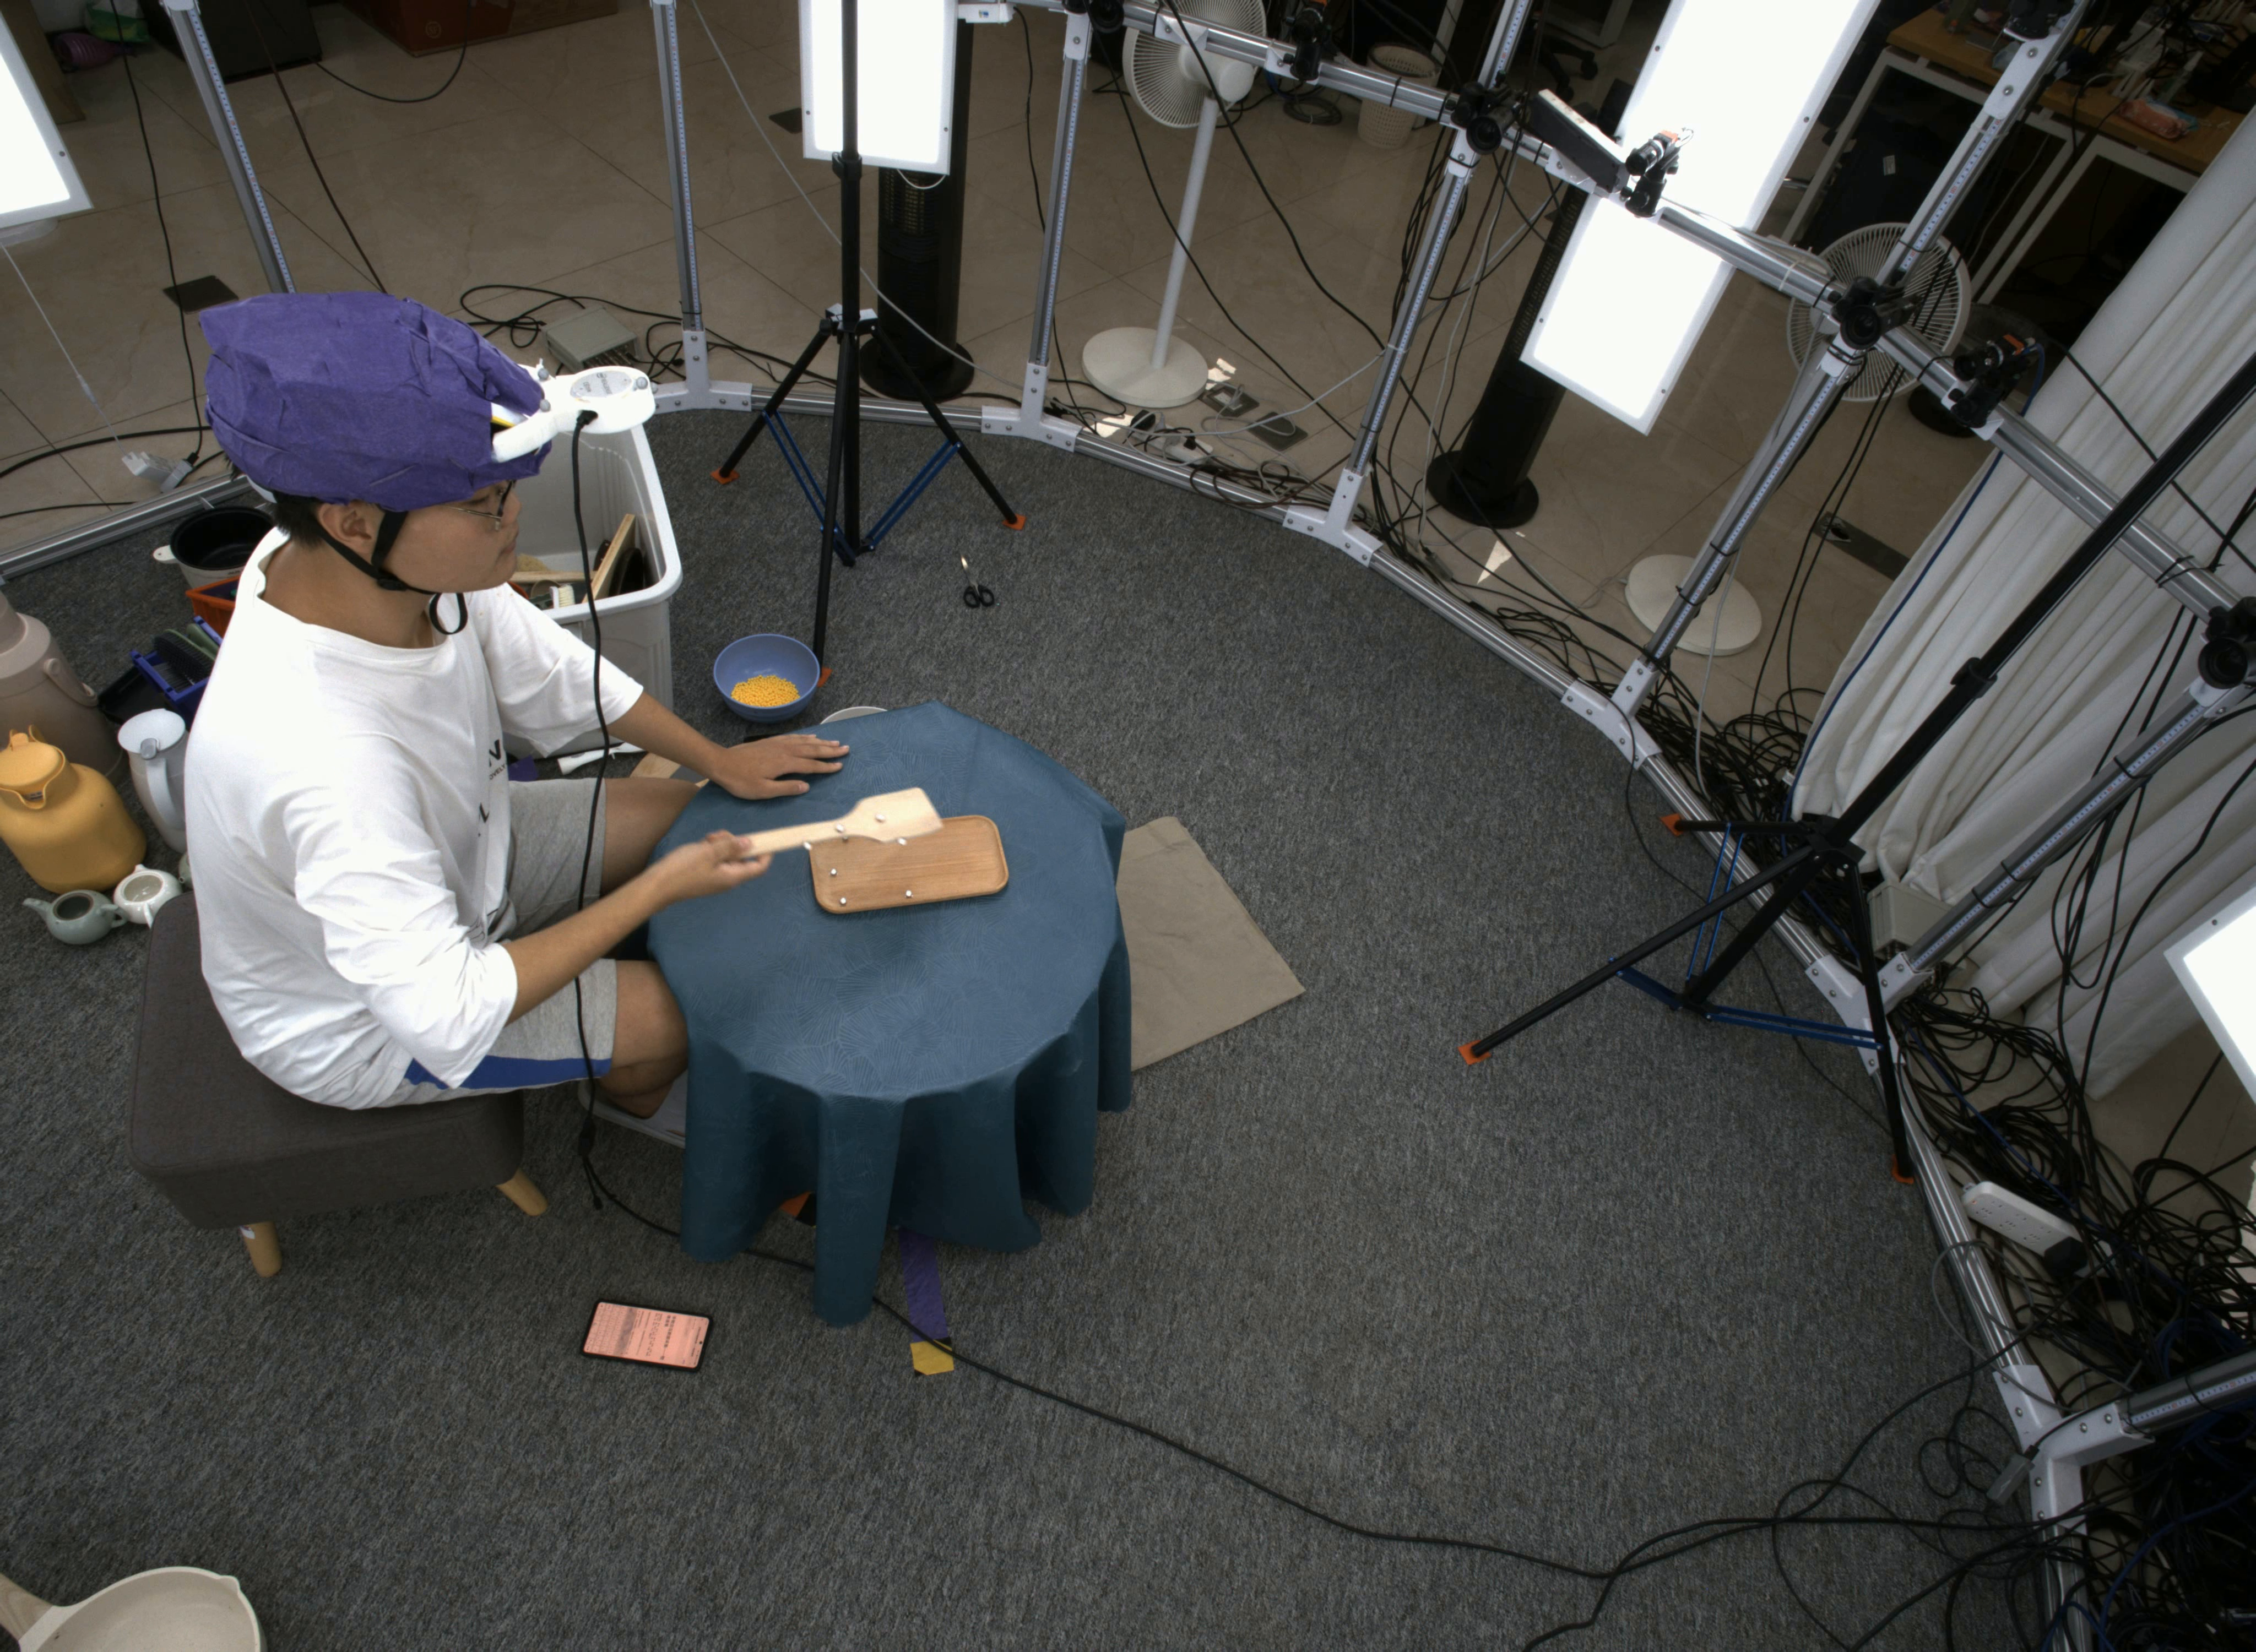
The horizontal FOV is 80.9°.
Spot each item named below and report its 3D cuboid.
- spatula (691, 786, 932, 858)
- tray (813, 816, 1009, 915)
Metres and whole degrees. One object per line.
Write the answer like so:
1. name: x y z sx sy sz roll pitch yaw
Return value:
1. spatula: -0.369 0.001 1.521 0.297 0.011 0.070 -12 58 -38
2. tray: -0.286 0.051 1.720 0.251 0.023 0.128 -5 58 -17
